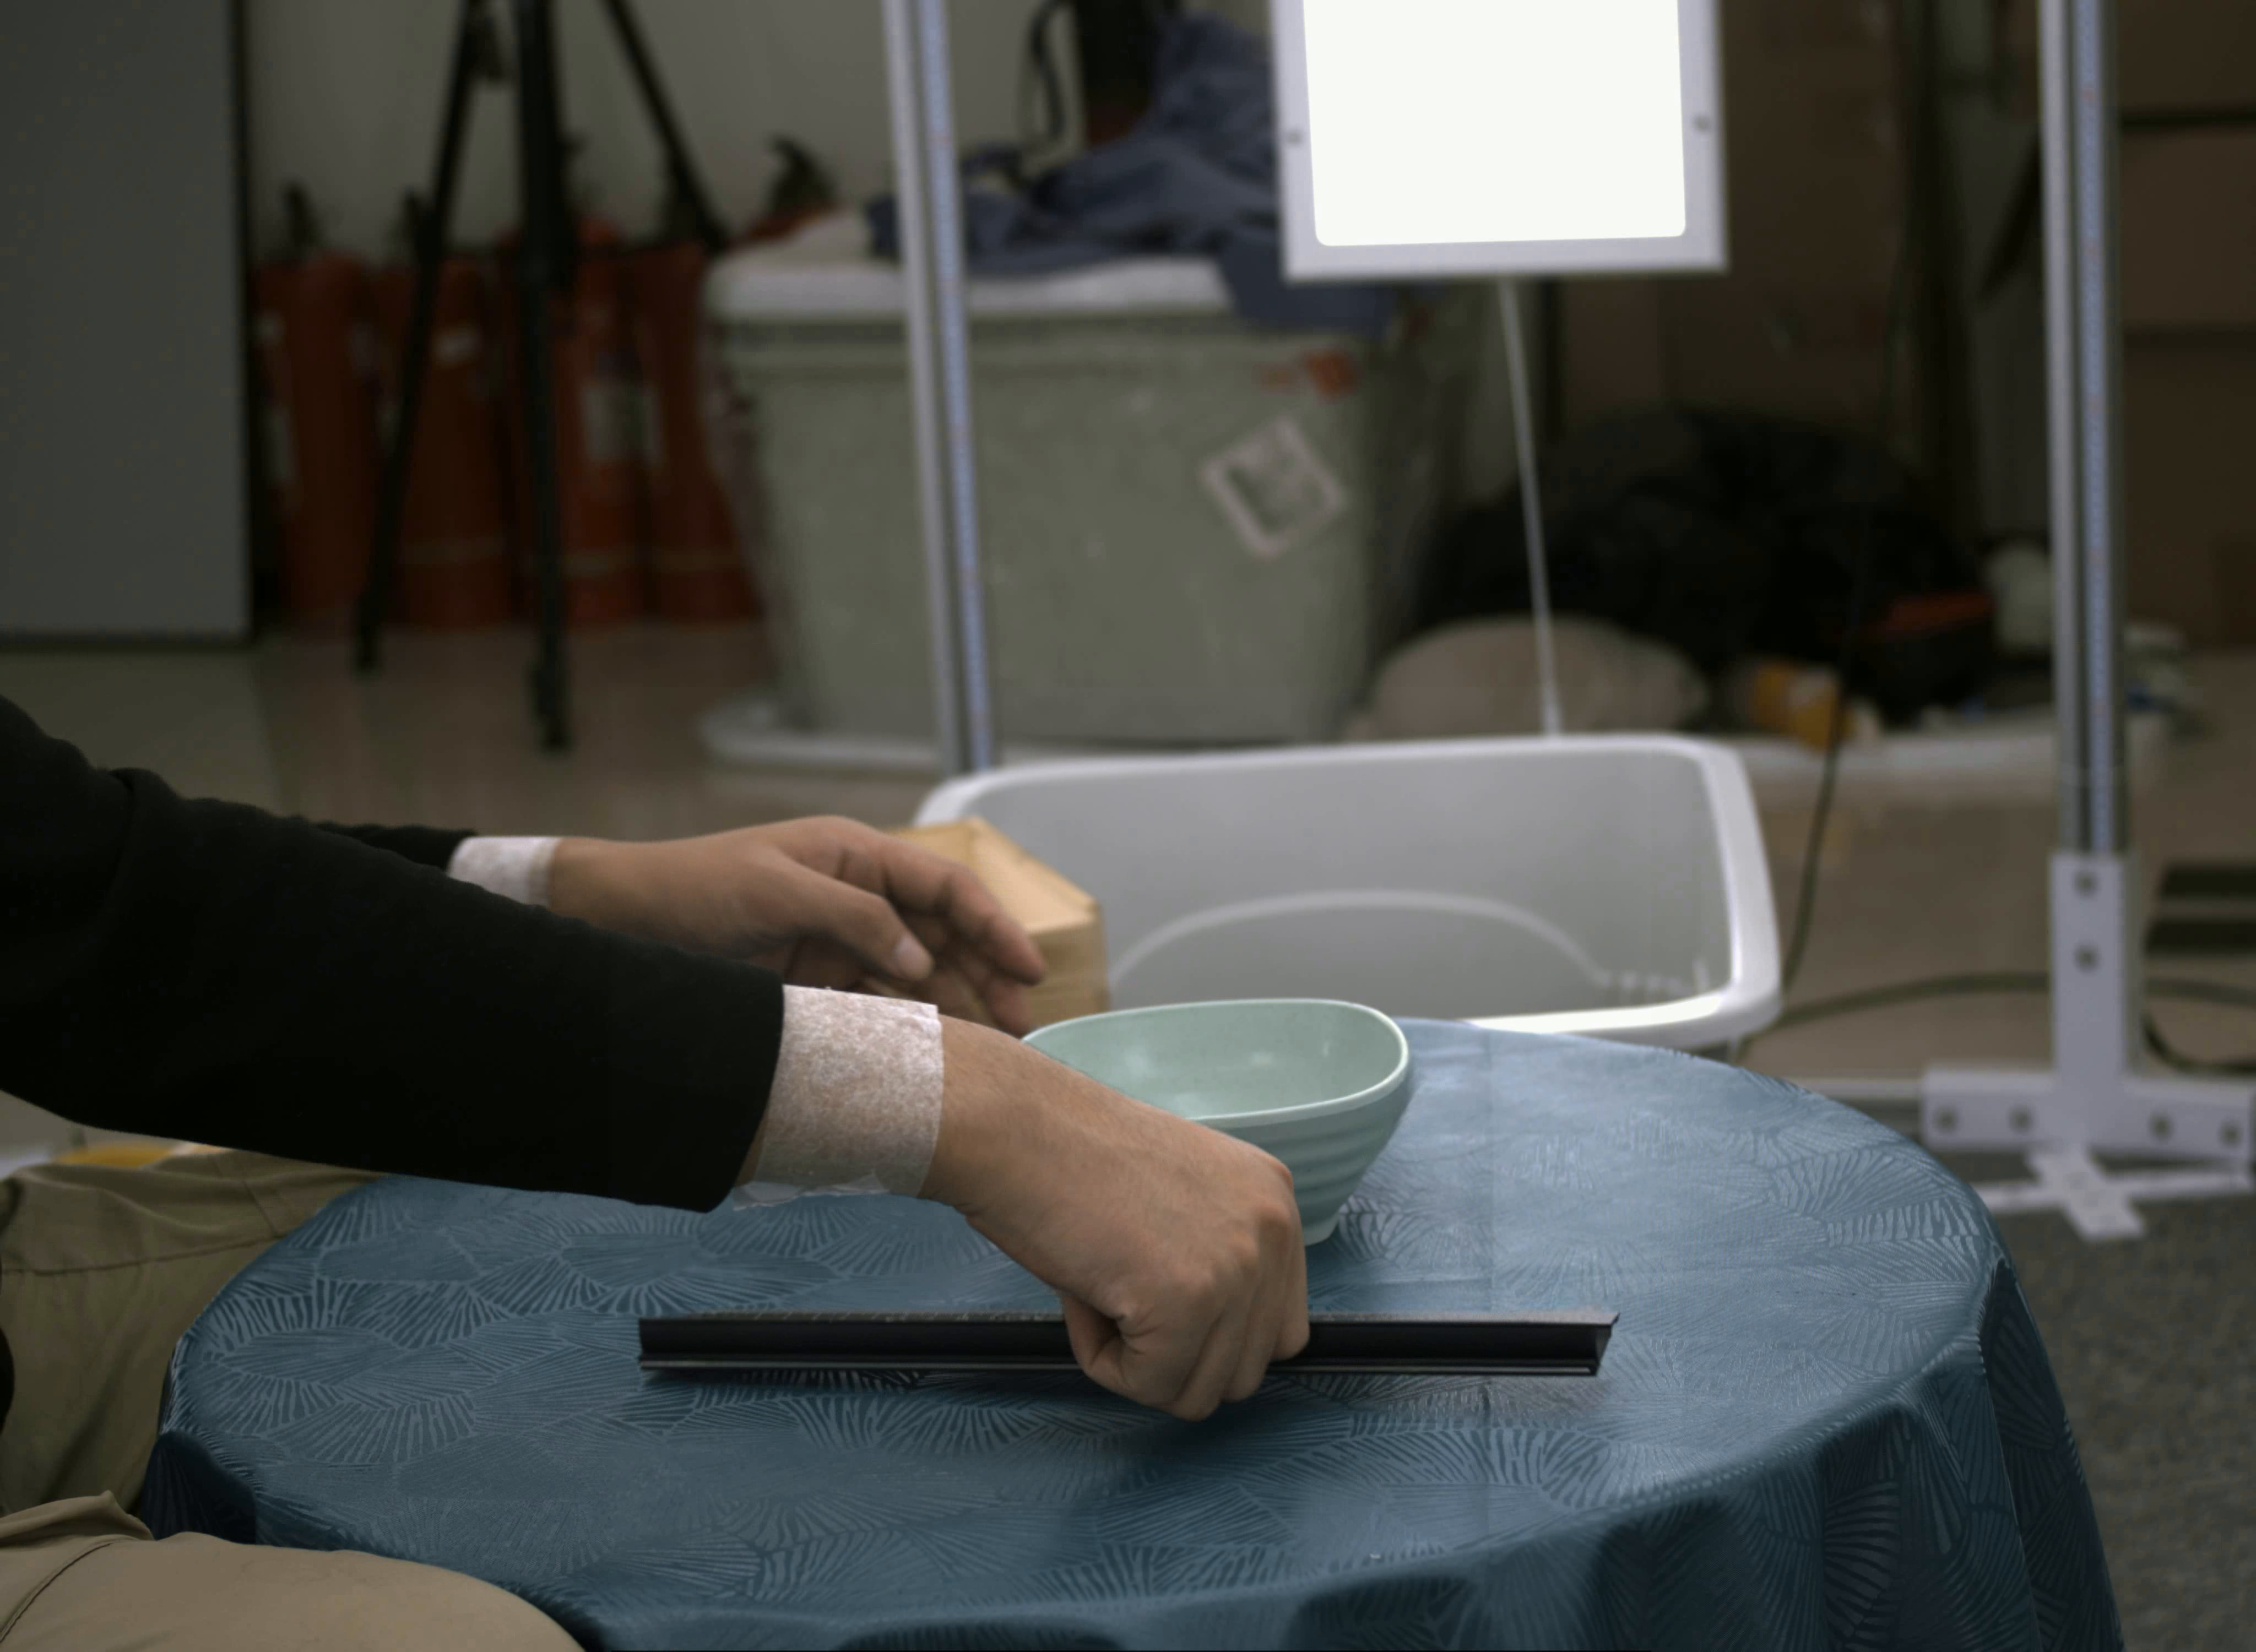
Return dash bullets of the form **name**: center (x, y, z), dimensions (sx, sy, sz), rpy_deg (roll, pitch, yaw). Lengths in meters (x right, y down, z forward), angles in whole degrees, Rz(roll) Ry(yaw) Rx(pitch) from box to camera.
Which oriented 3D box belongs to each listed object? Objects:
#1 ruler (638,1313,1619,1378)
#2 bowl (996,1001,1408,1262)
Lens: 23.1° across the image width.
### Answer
- **ruler**: center (-0.003, 0.155, 1.709), dimensions (0.316, 0.017, 0.038), rpy_deg (-2, 21, 19)
- **bowl**: center (0.026, 0.106, 1.855), dimensions (0.151, 0.059, 0.151), rpy_deg (-3, 15, -1)
